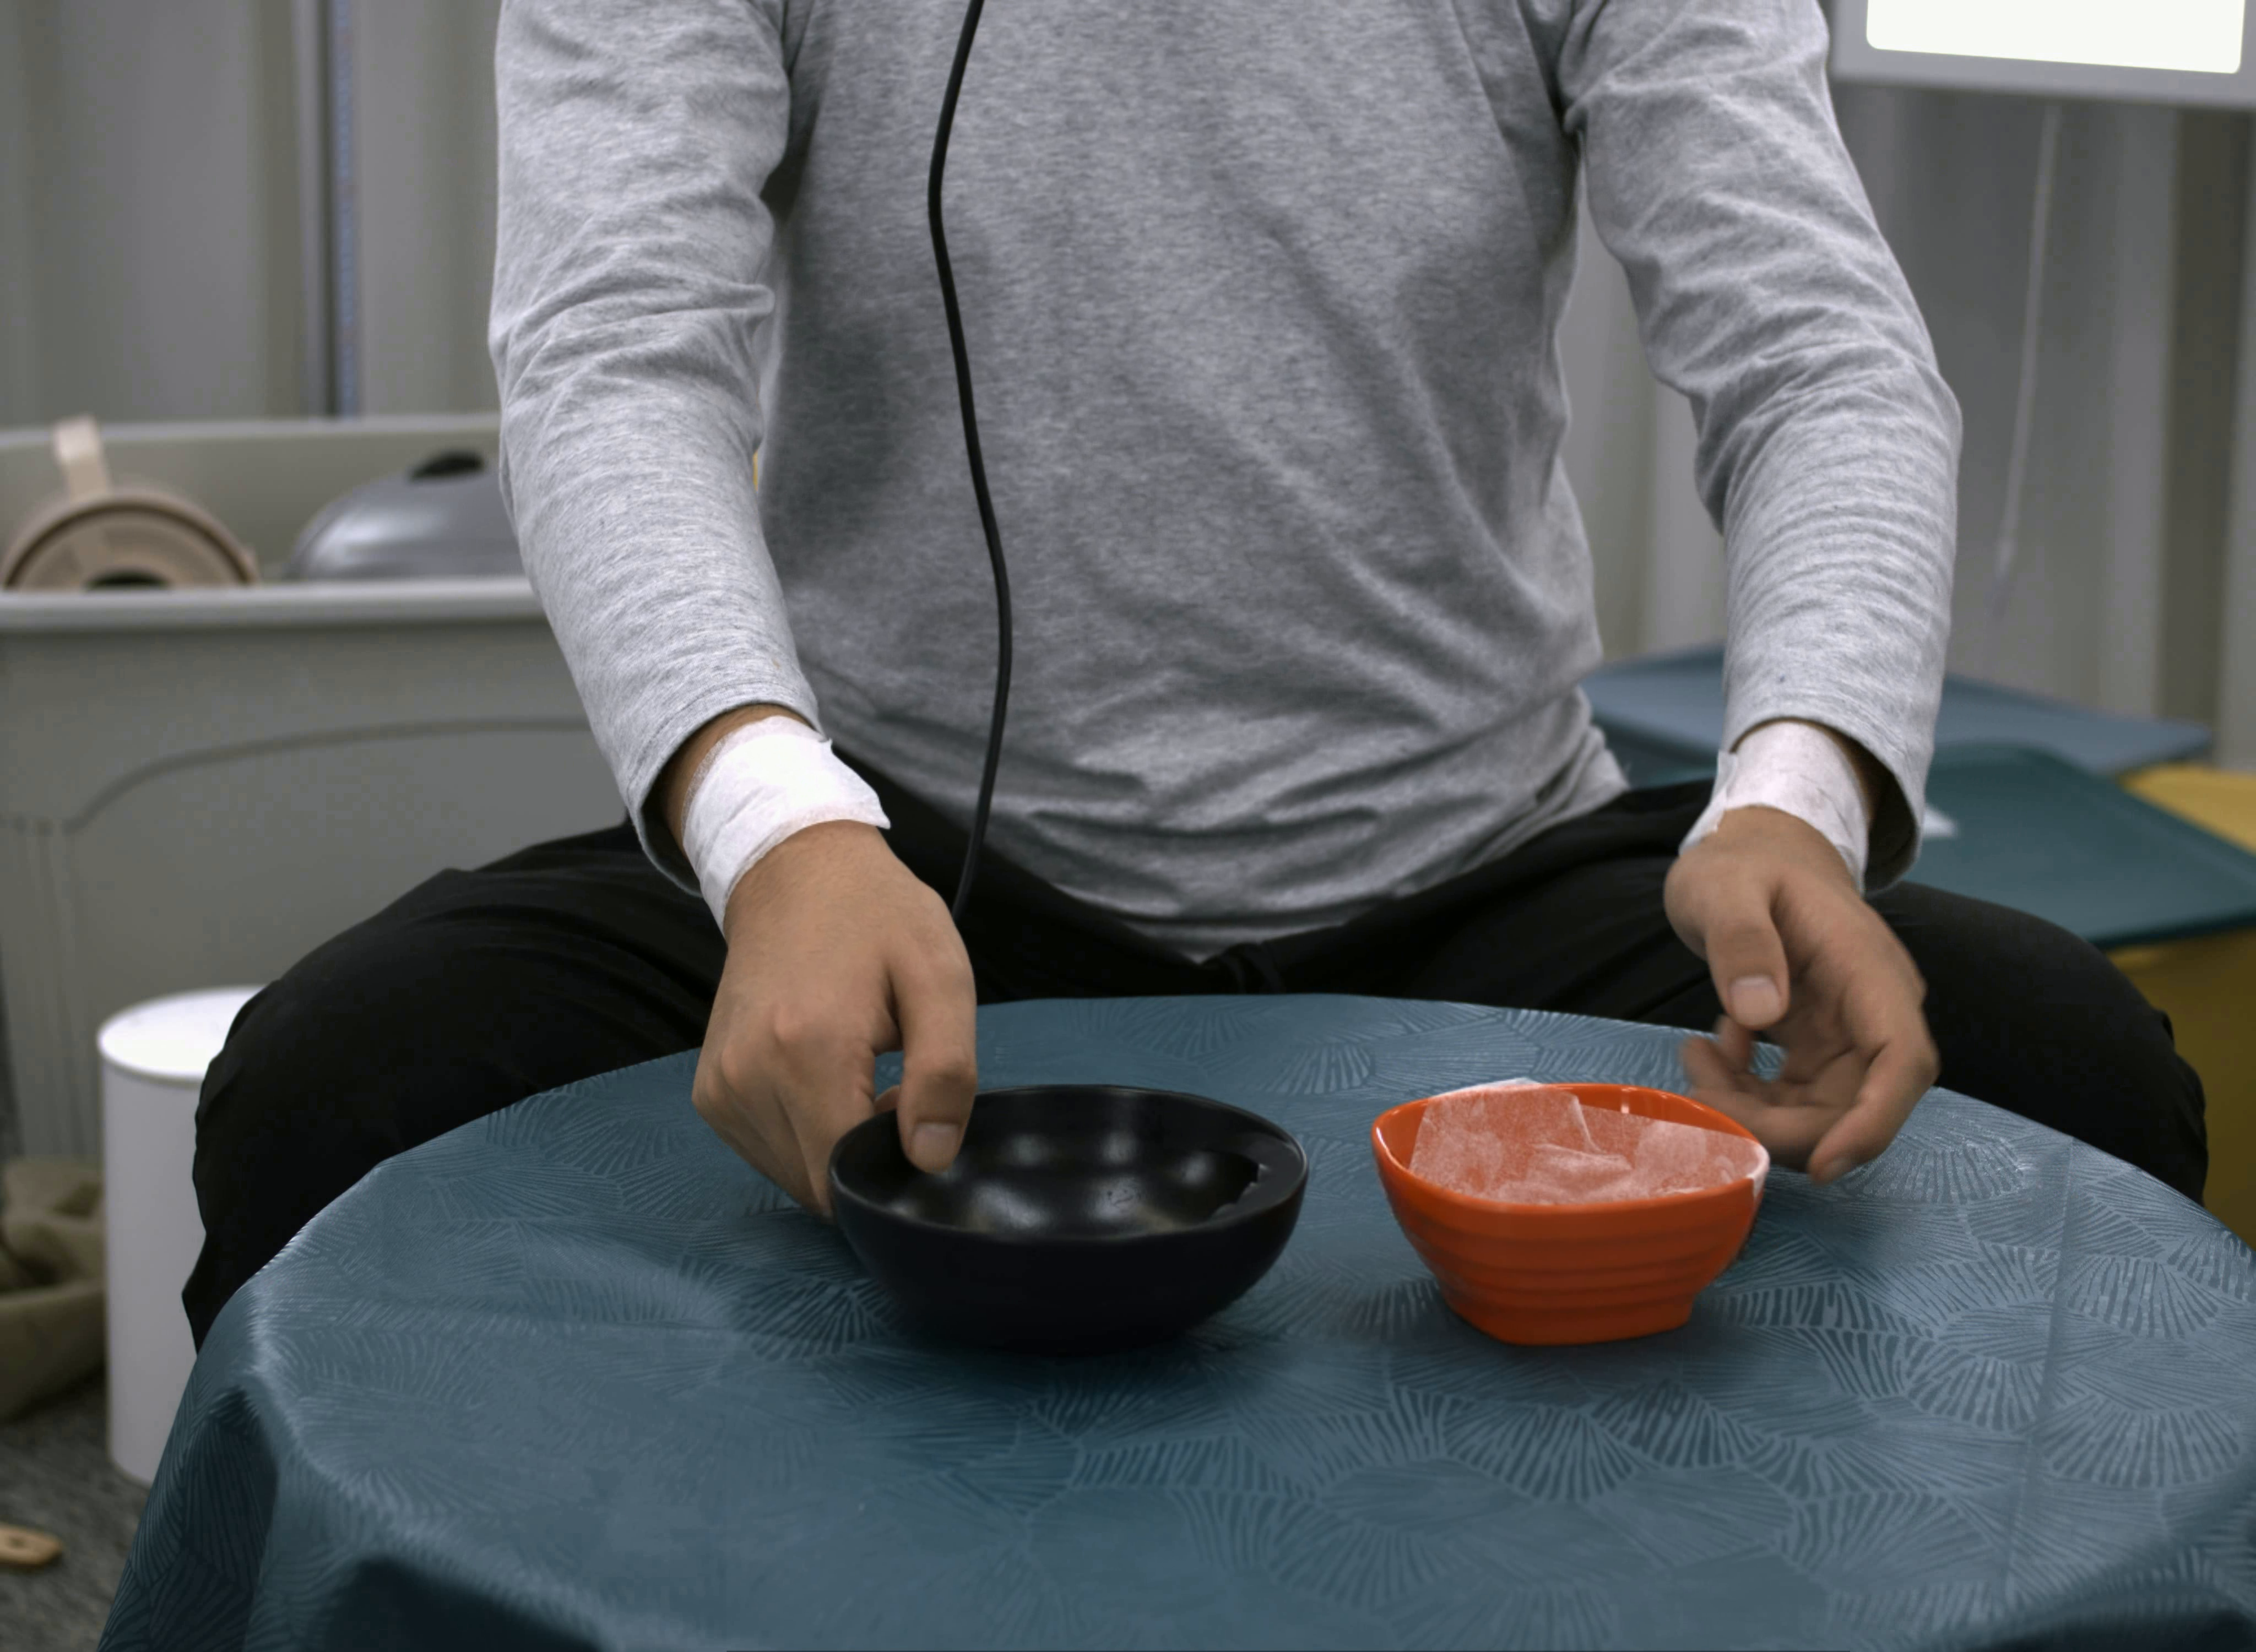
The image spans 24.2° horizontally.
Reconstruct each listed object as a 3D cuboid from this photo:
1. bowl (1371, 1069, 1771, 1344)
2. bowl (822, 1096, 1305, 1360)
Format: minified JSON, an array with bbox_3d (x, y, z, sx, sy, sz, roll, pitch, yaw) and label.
[{"bbox_3d":[0.127,0.113,1.527,0.118,0.052,0.118,0,18,1],"label":"bowl"},{"bbox_3d":[-0.018,0.119,1.512,0.139,0.050,0.139,1,13,0],"label":"bowl"}]
